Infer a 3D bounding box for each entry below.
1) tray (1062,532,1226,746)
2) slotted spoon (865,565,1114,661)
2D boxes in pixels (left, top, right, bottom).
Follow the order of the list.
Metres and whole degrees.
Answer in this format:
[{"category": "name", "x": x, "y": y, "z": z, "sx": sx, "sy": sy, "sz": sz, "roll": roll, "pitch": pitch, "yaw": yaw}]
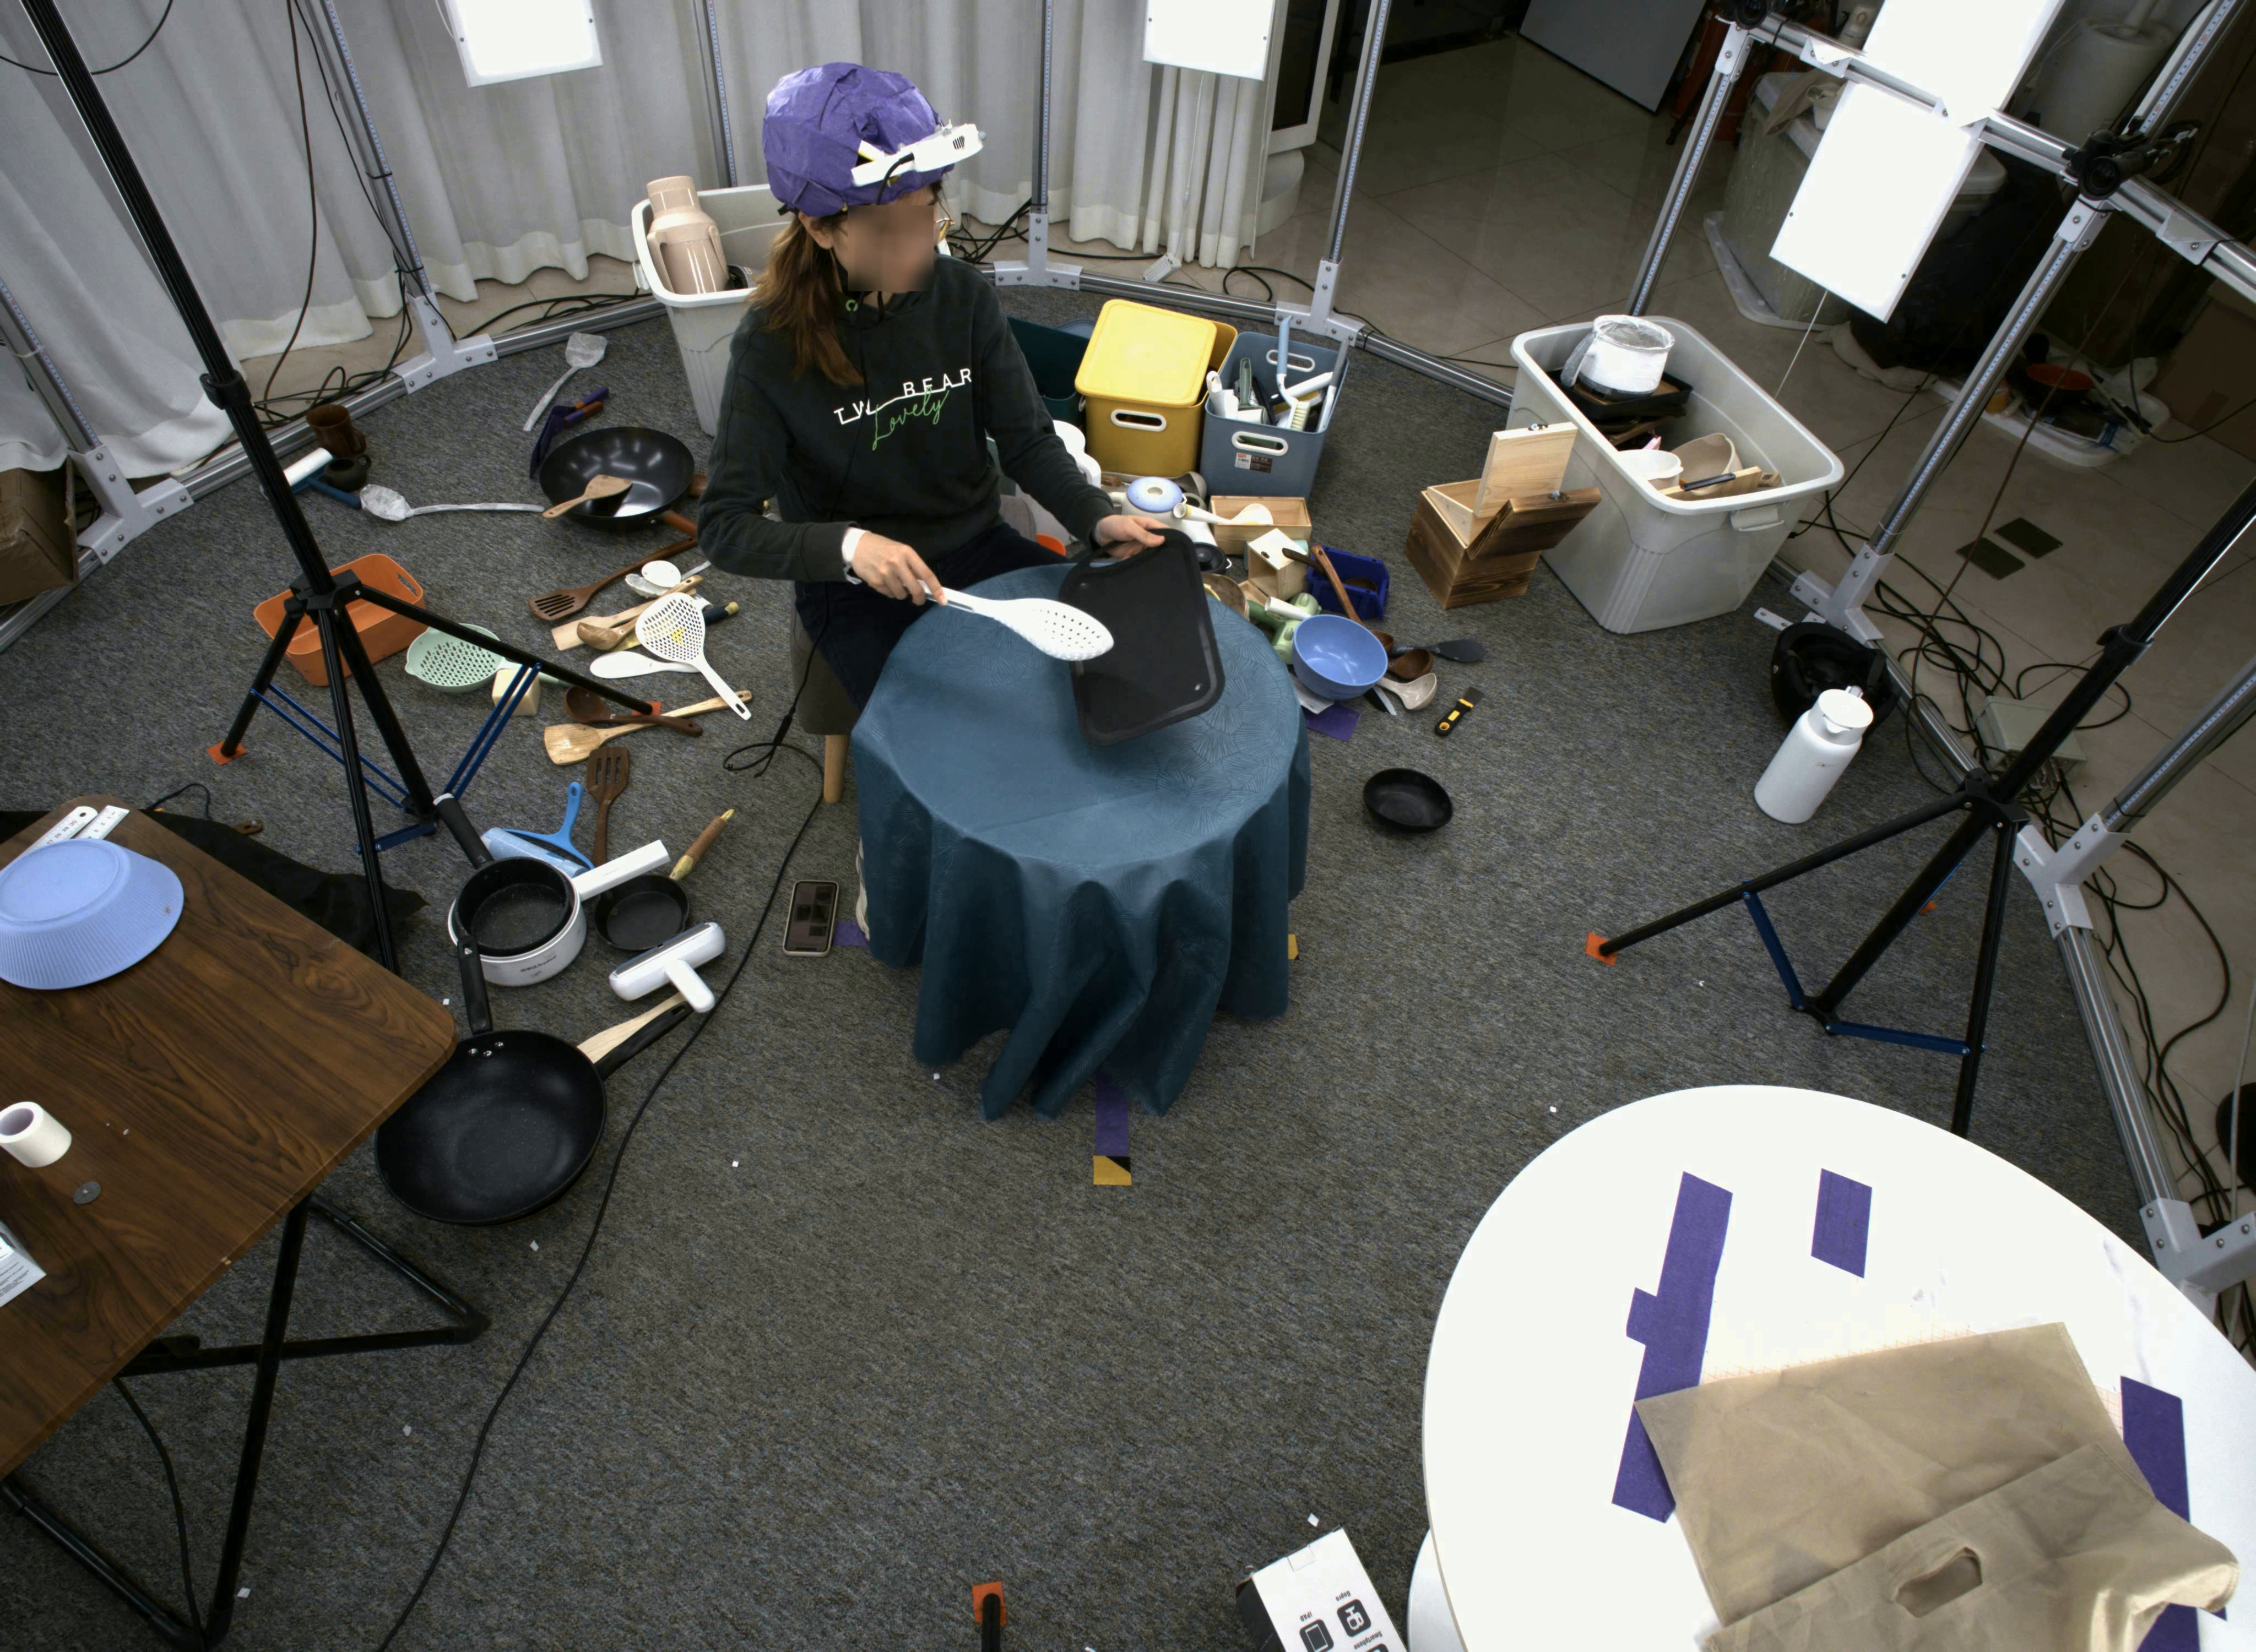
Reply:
[{"category": "tray", "x": 0.014, "y": -0.266, "z": 1.764, "sx": 0.210, "sy": 0.009, "sz": 0.333, "roll": -19, "pitch": 59, "yaw": 16}, {"category": "slotted spoon", "x": -0.187, "y": -0.289, "z": 1.711, "sx": 0.351, "sy": 0.134, "sz": 0.046, "roll": 22, "pitch": 74, "yaw": 11}]
